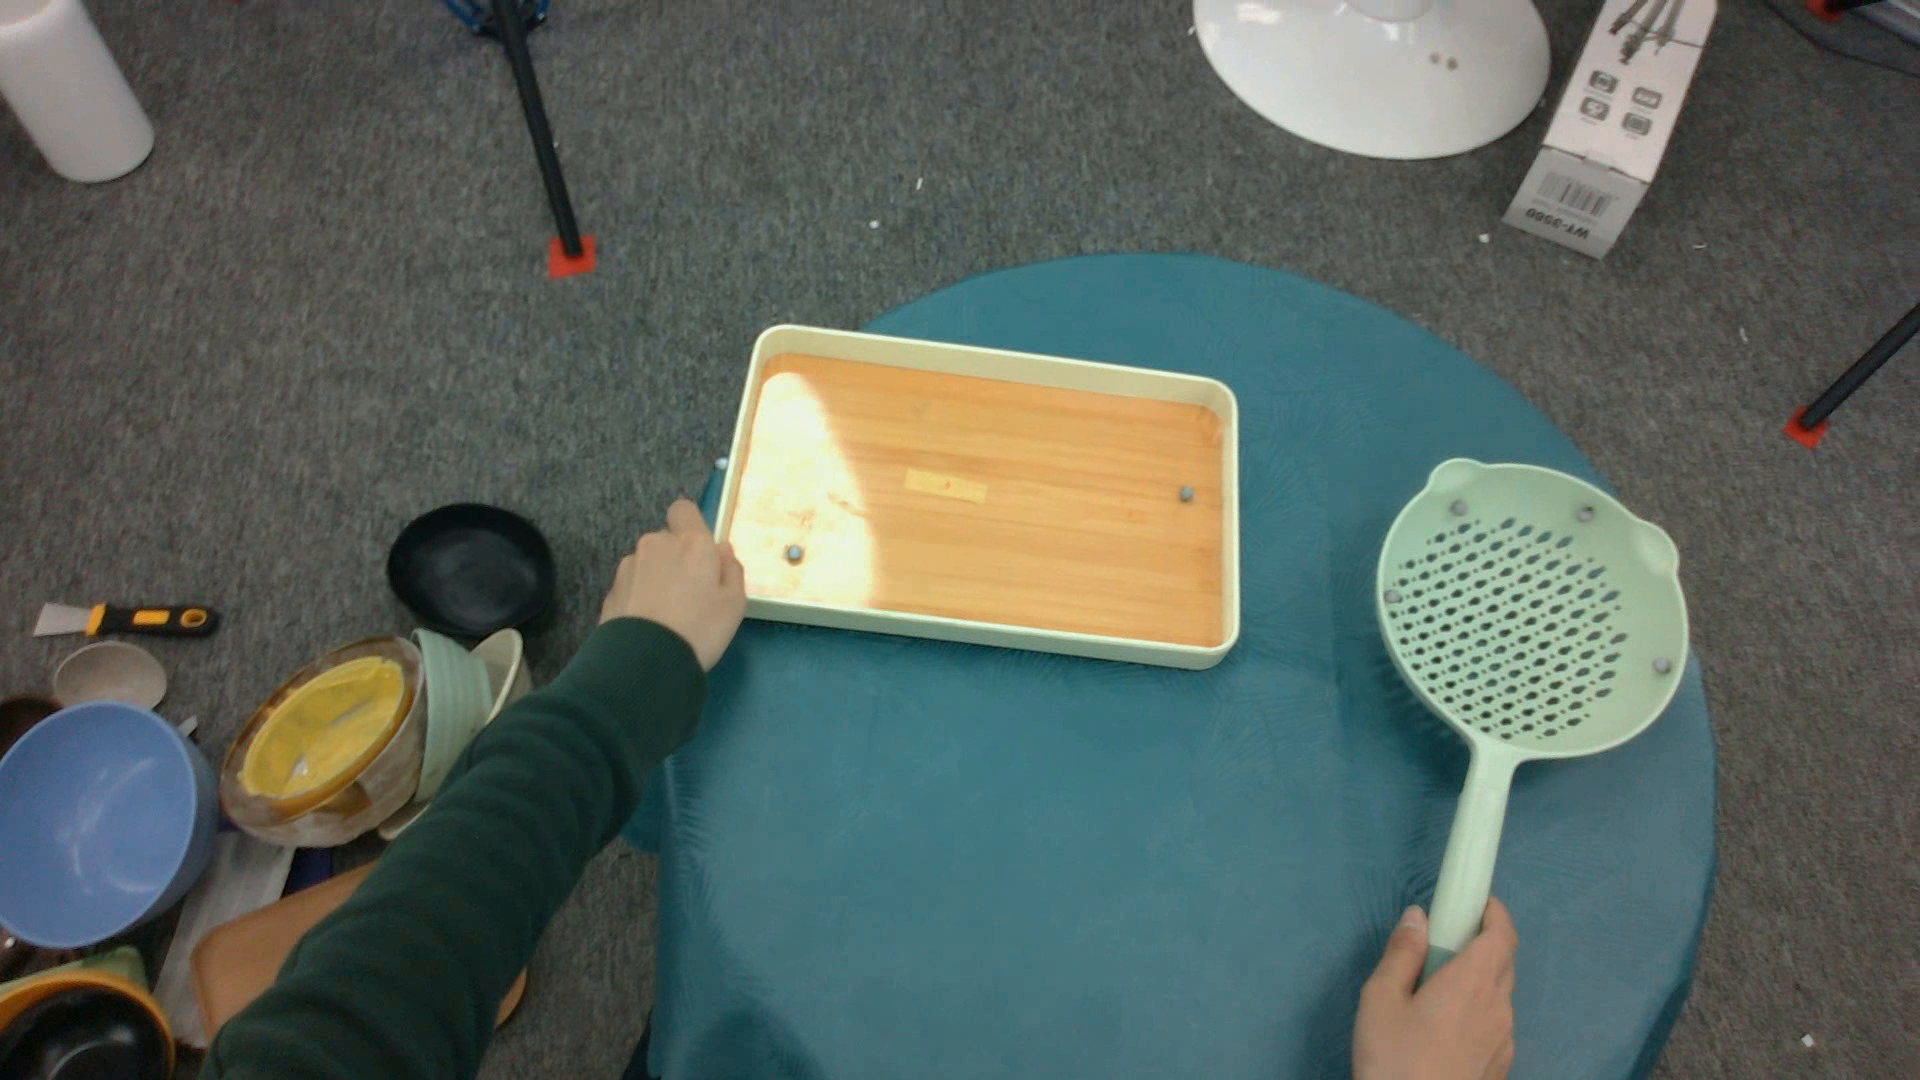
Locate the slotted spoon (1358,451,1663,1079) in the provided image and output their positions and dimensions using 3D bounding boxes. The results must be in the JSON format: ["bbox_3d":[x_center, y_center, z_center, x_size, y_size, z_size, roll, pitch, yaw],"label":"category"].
[{"bbox_3d":[0.268,0.116,0.728,0.169,0.075,0.360,20,58,7],"label":"slotted spoon"}]

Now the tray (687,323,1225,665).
[{"bbox_3d":[0.004,-0.030,0.809,0.300,0.027,0.192,7,59,-3],"label":"tray"}]
